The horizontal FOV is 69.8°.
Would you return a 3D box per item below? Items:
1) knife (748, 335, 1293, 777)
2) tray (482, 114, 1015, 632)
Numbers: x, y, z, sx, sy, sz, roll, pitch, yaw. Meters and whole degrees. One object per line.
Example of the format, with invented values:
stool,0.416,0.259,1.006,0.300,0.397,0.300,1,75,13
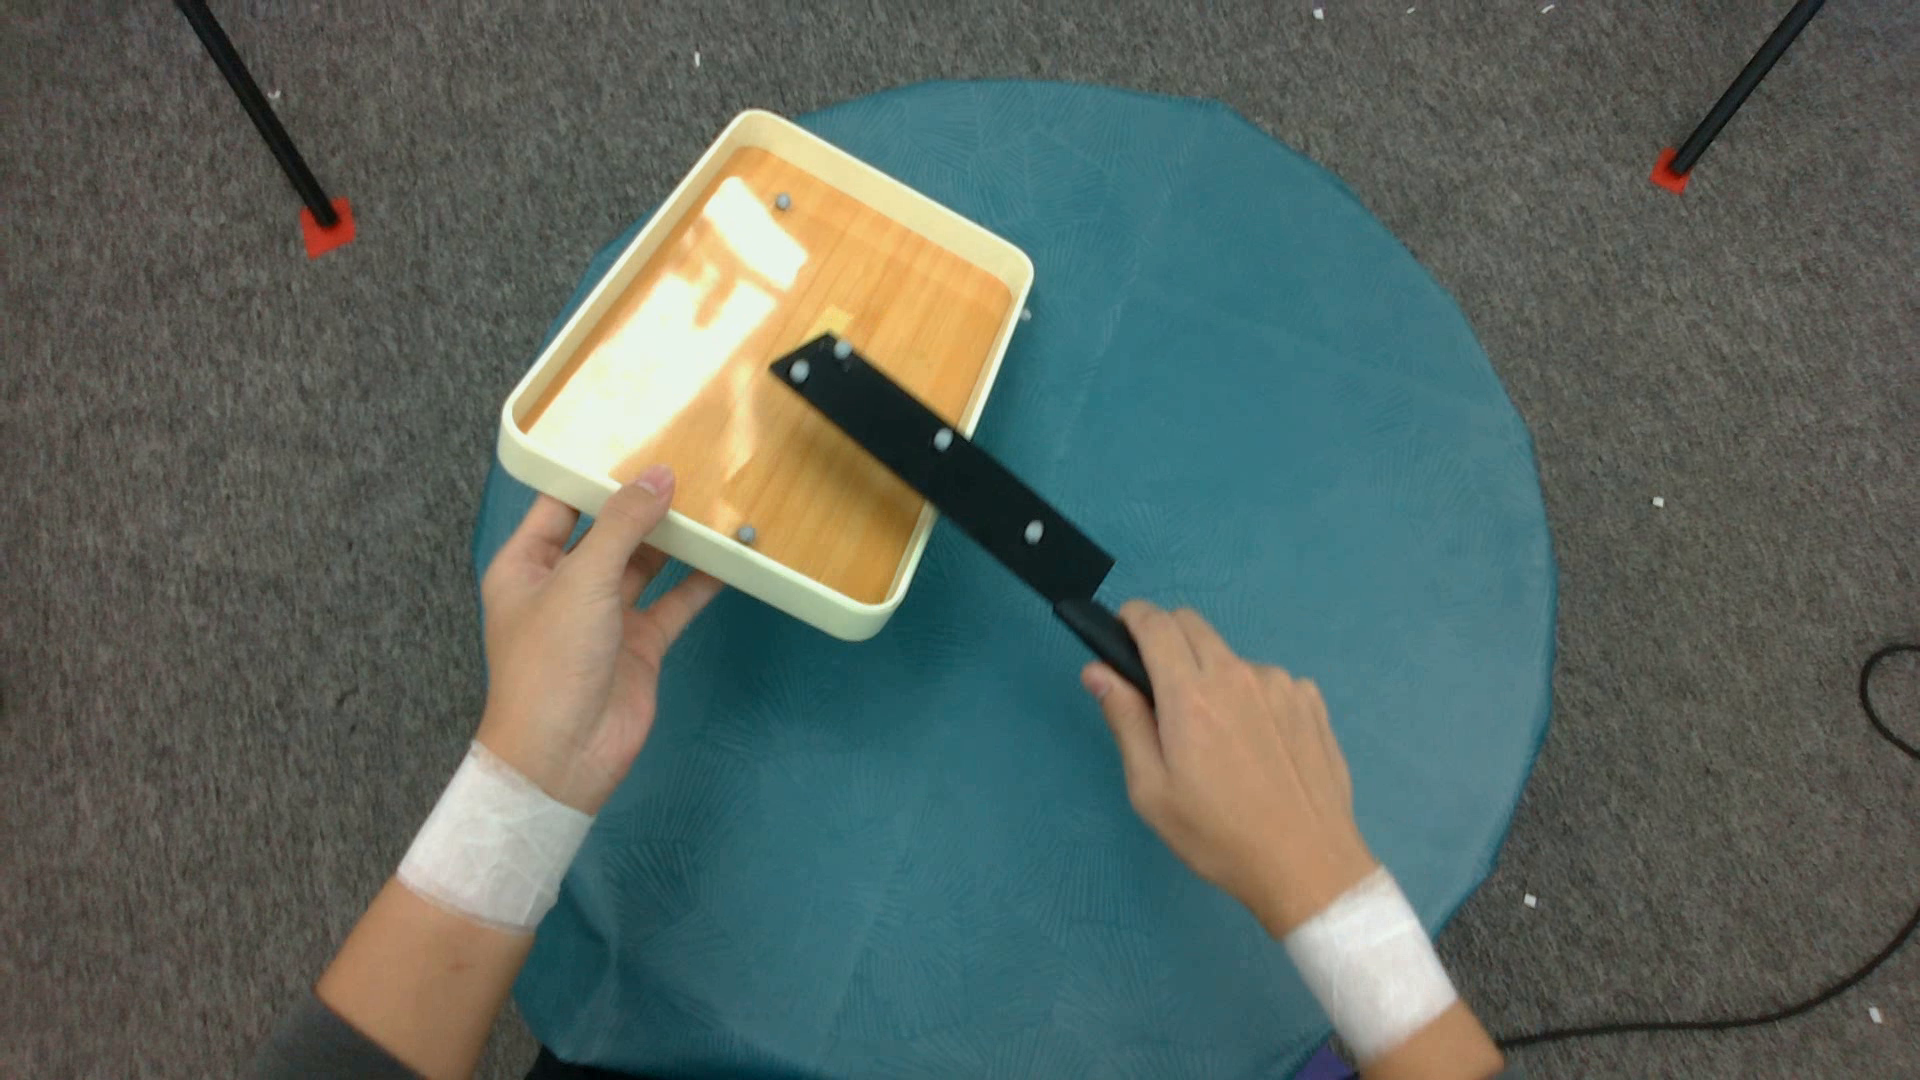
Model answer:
knife,0.030,0.004,0.636,0.302,0.021,0.081,40,34,7
tray,-0.089,-0.100,0.702,0.191,0.027,0.302,26,45,-6
